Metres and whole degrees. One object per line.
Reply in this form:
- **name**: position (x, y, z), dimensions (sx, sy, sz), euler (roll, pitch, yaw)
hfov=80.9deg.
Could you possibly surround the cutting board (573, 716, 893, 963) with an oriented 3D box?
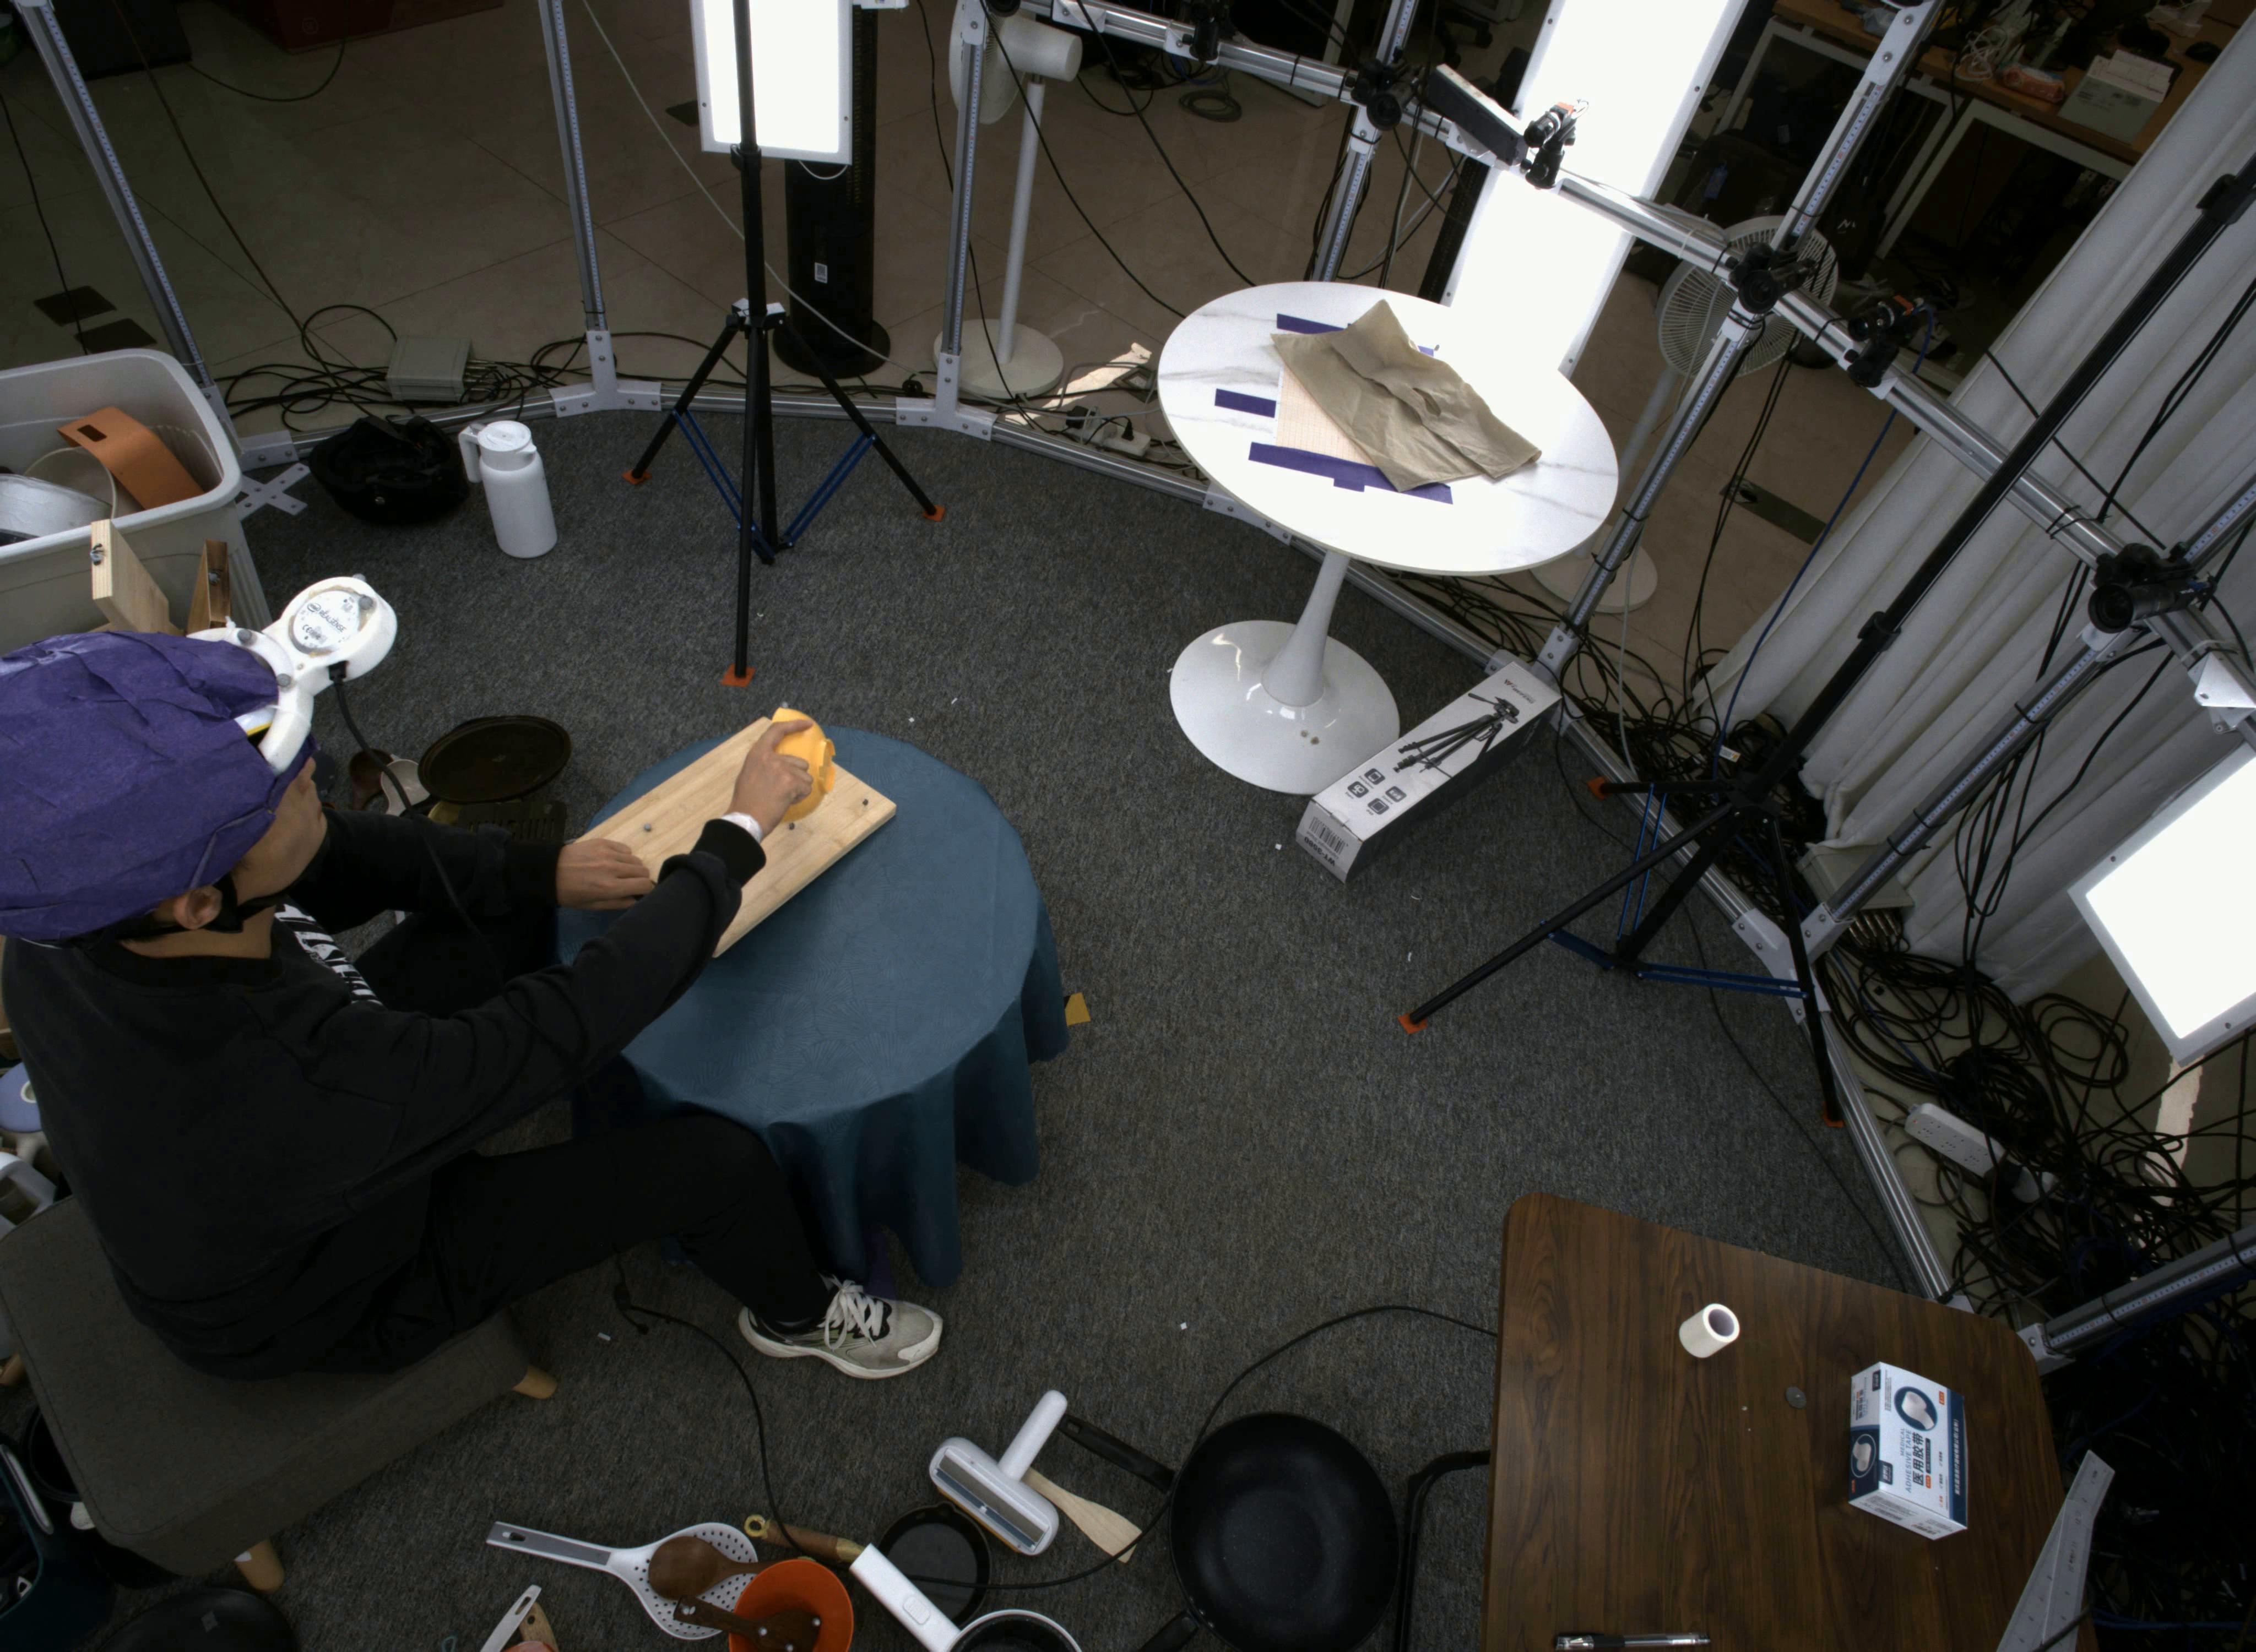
- **cutting board**: position (-0.503, 0.004, 1.667), dimensions (0.246, 0.024, 0.348), euler (33, 46, 11)

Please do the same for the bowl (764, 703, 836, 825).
- **bowl**: position (-0.393, -0.077, 1.578), dimensions (0.059, 0.150, 0.142), euler (-2, 52, 1)
